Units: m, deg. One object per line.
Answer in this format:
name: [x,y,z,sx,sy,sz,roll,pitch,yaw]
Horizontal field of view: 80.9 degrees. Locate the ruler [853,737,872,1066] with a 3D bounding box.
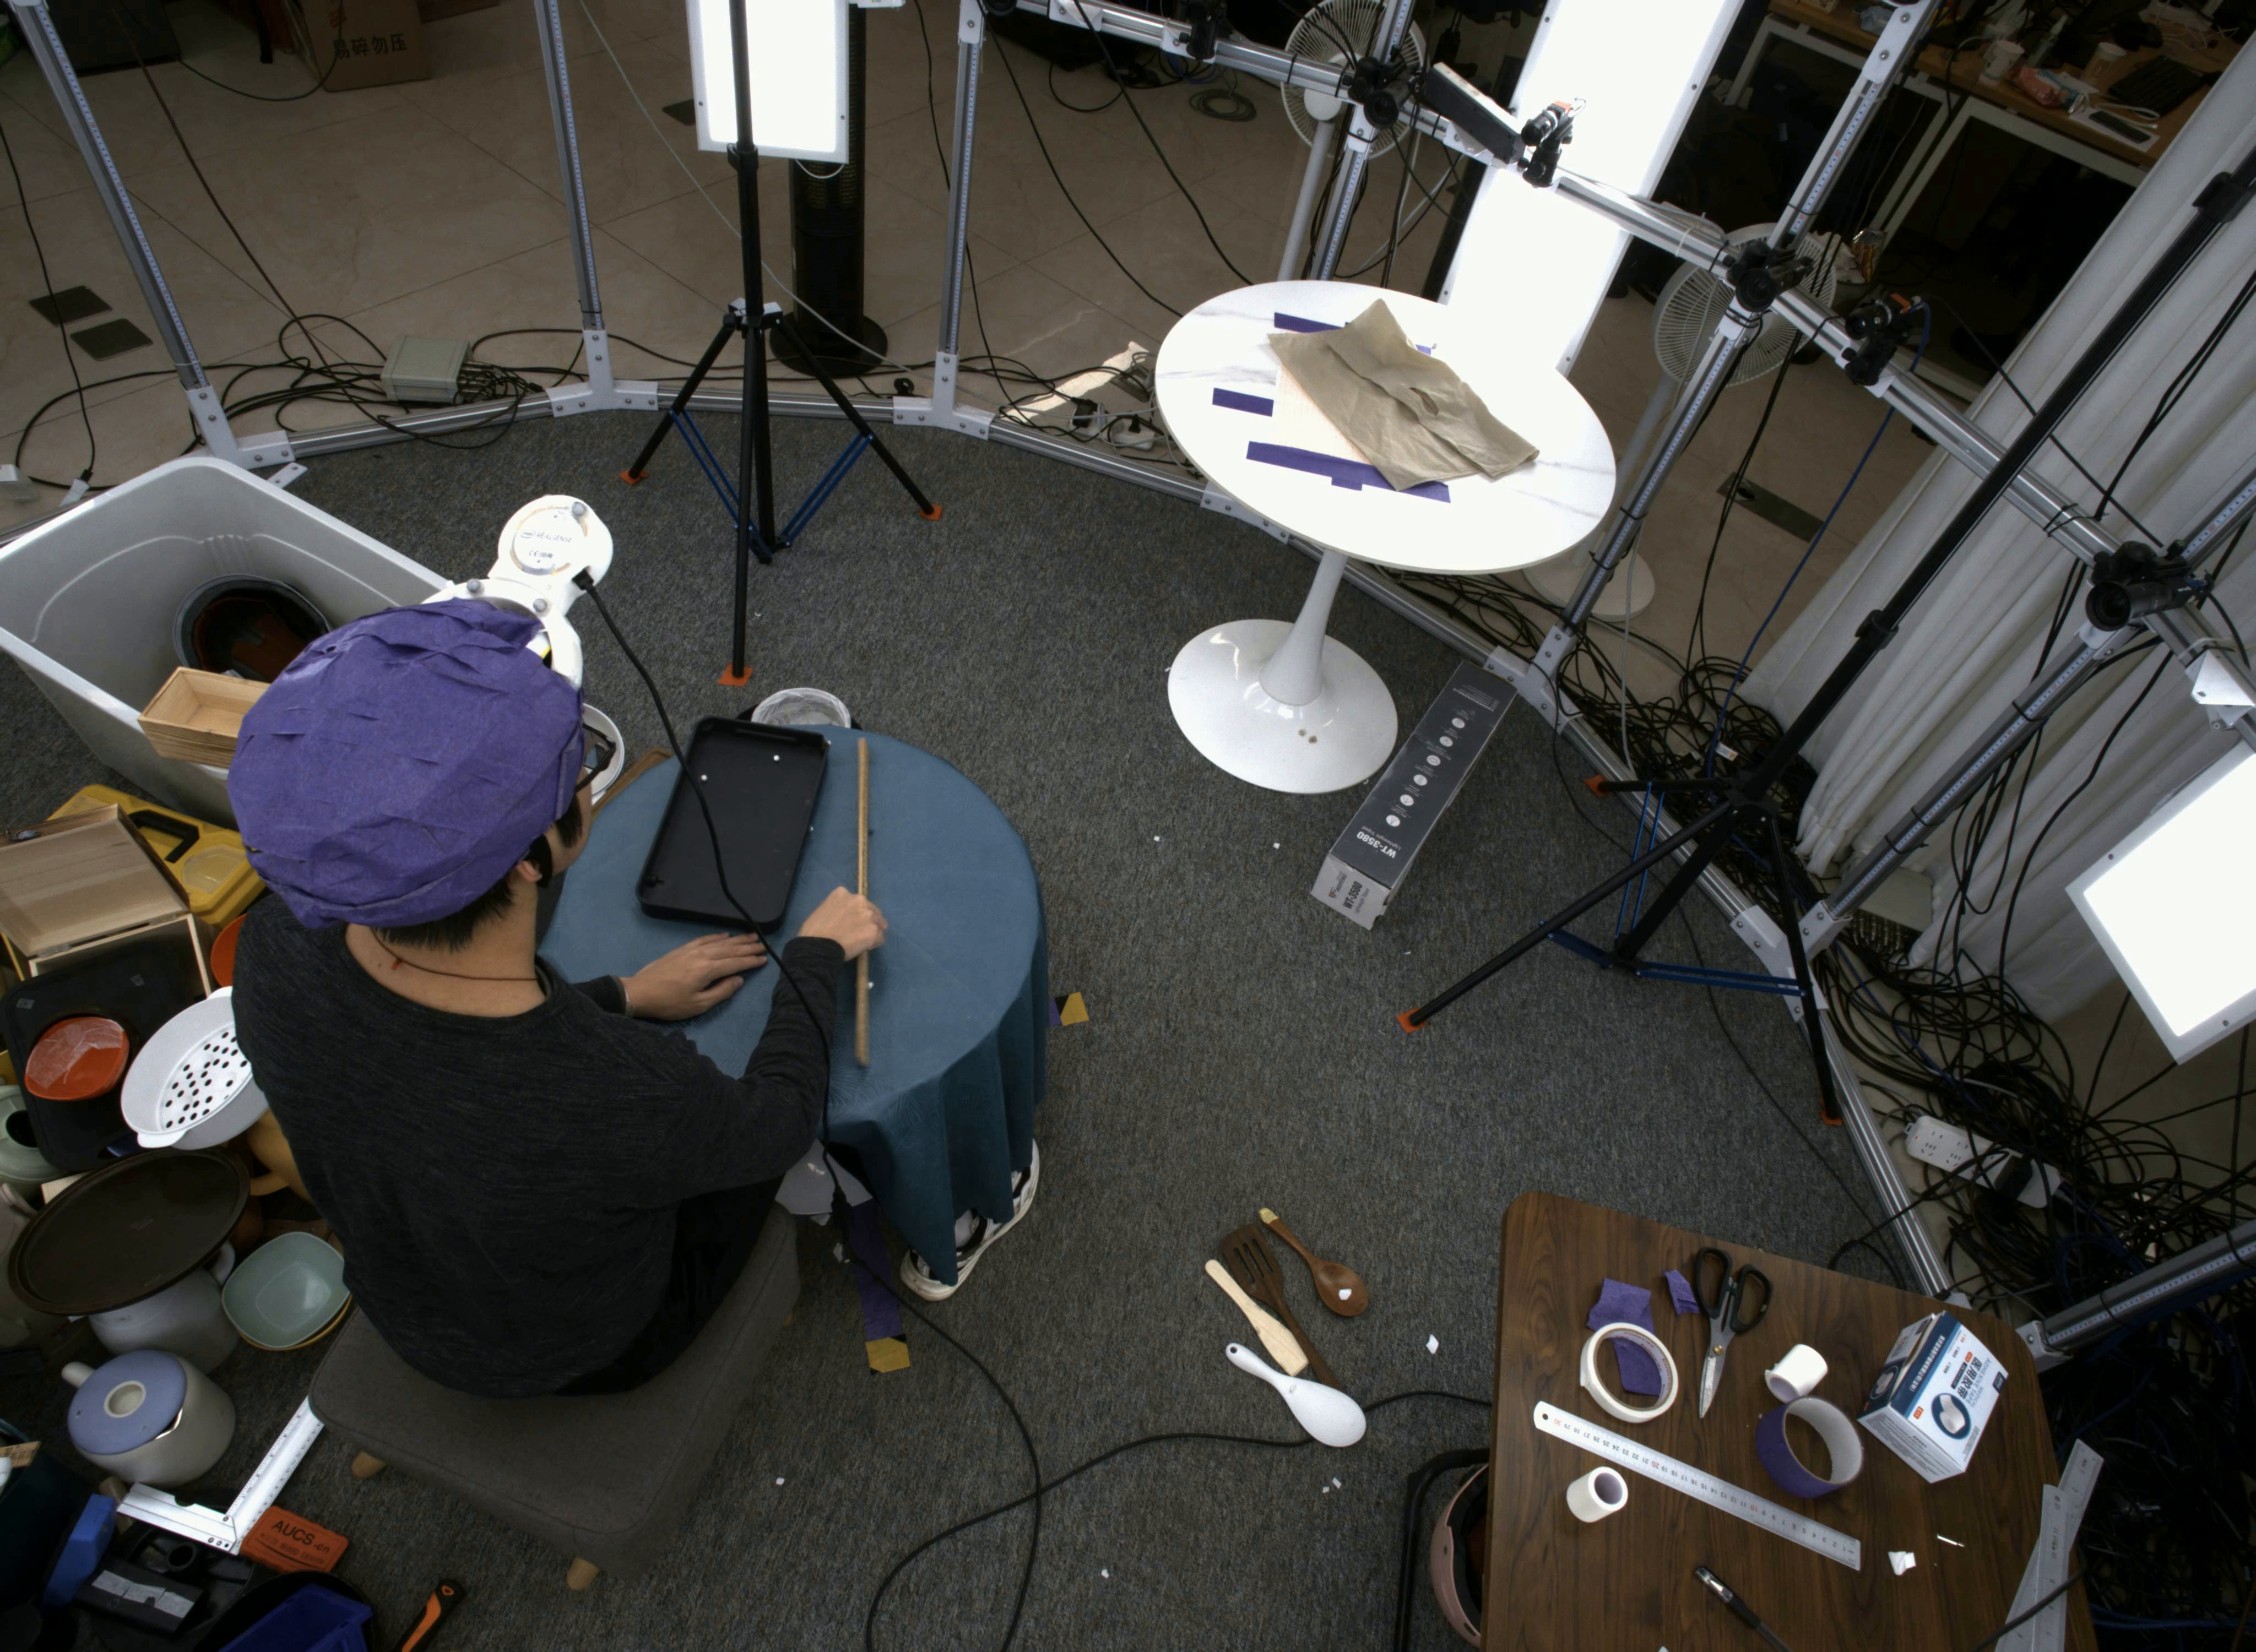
ruler: [-0.339,0.078,1.663,0.006,0.028,0.490,-10,53,4]

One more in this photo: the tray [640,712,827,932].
tray: [-0.507,-0.011,1.683,0.184,0.038,0.312,9,53,-8]
